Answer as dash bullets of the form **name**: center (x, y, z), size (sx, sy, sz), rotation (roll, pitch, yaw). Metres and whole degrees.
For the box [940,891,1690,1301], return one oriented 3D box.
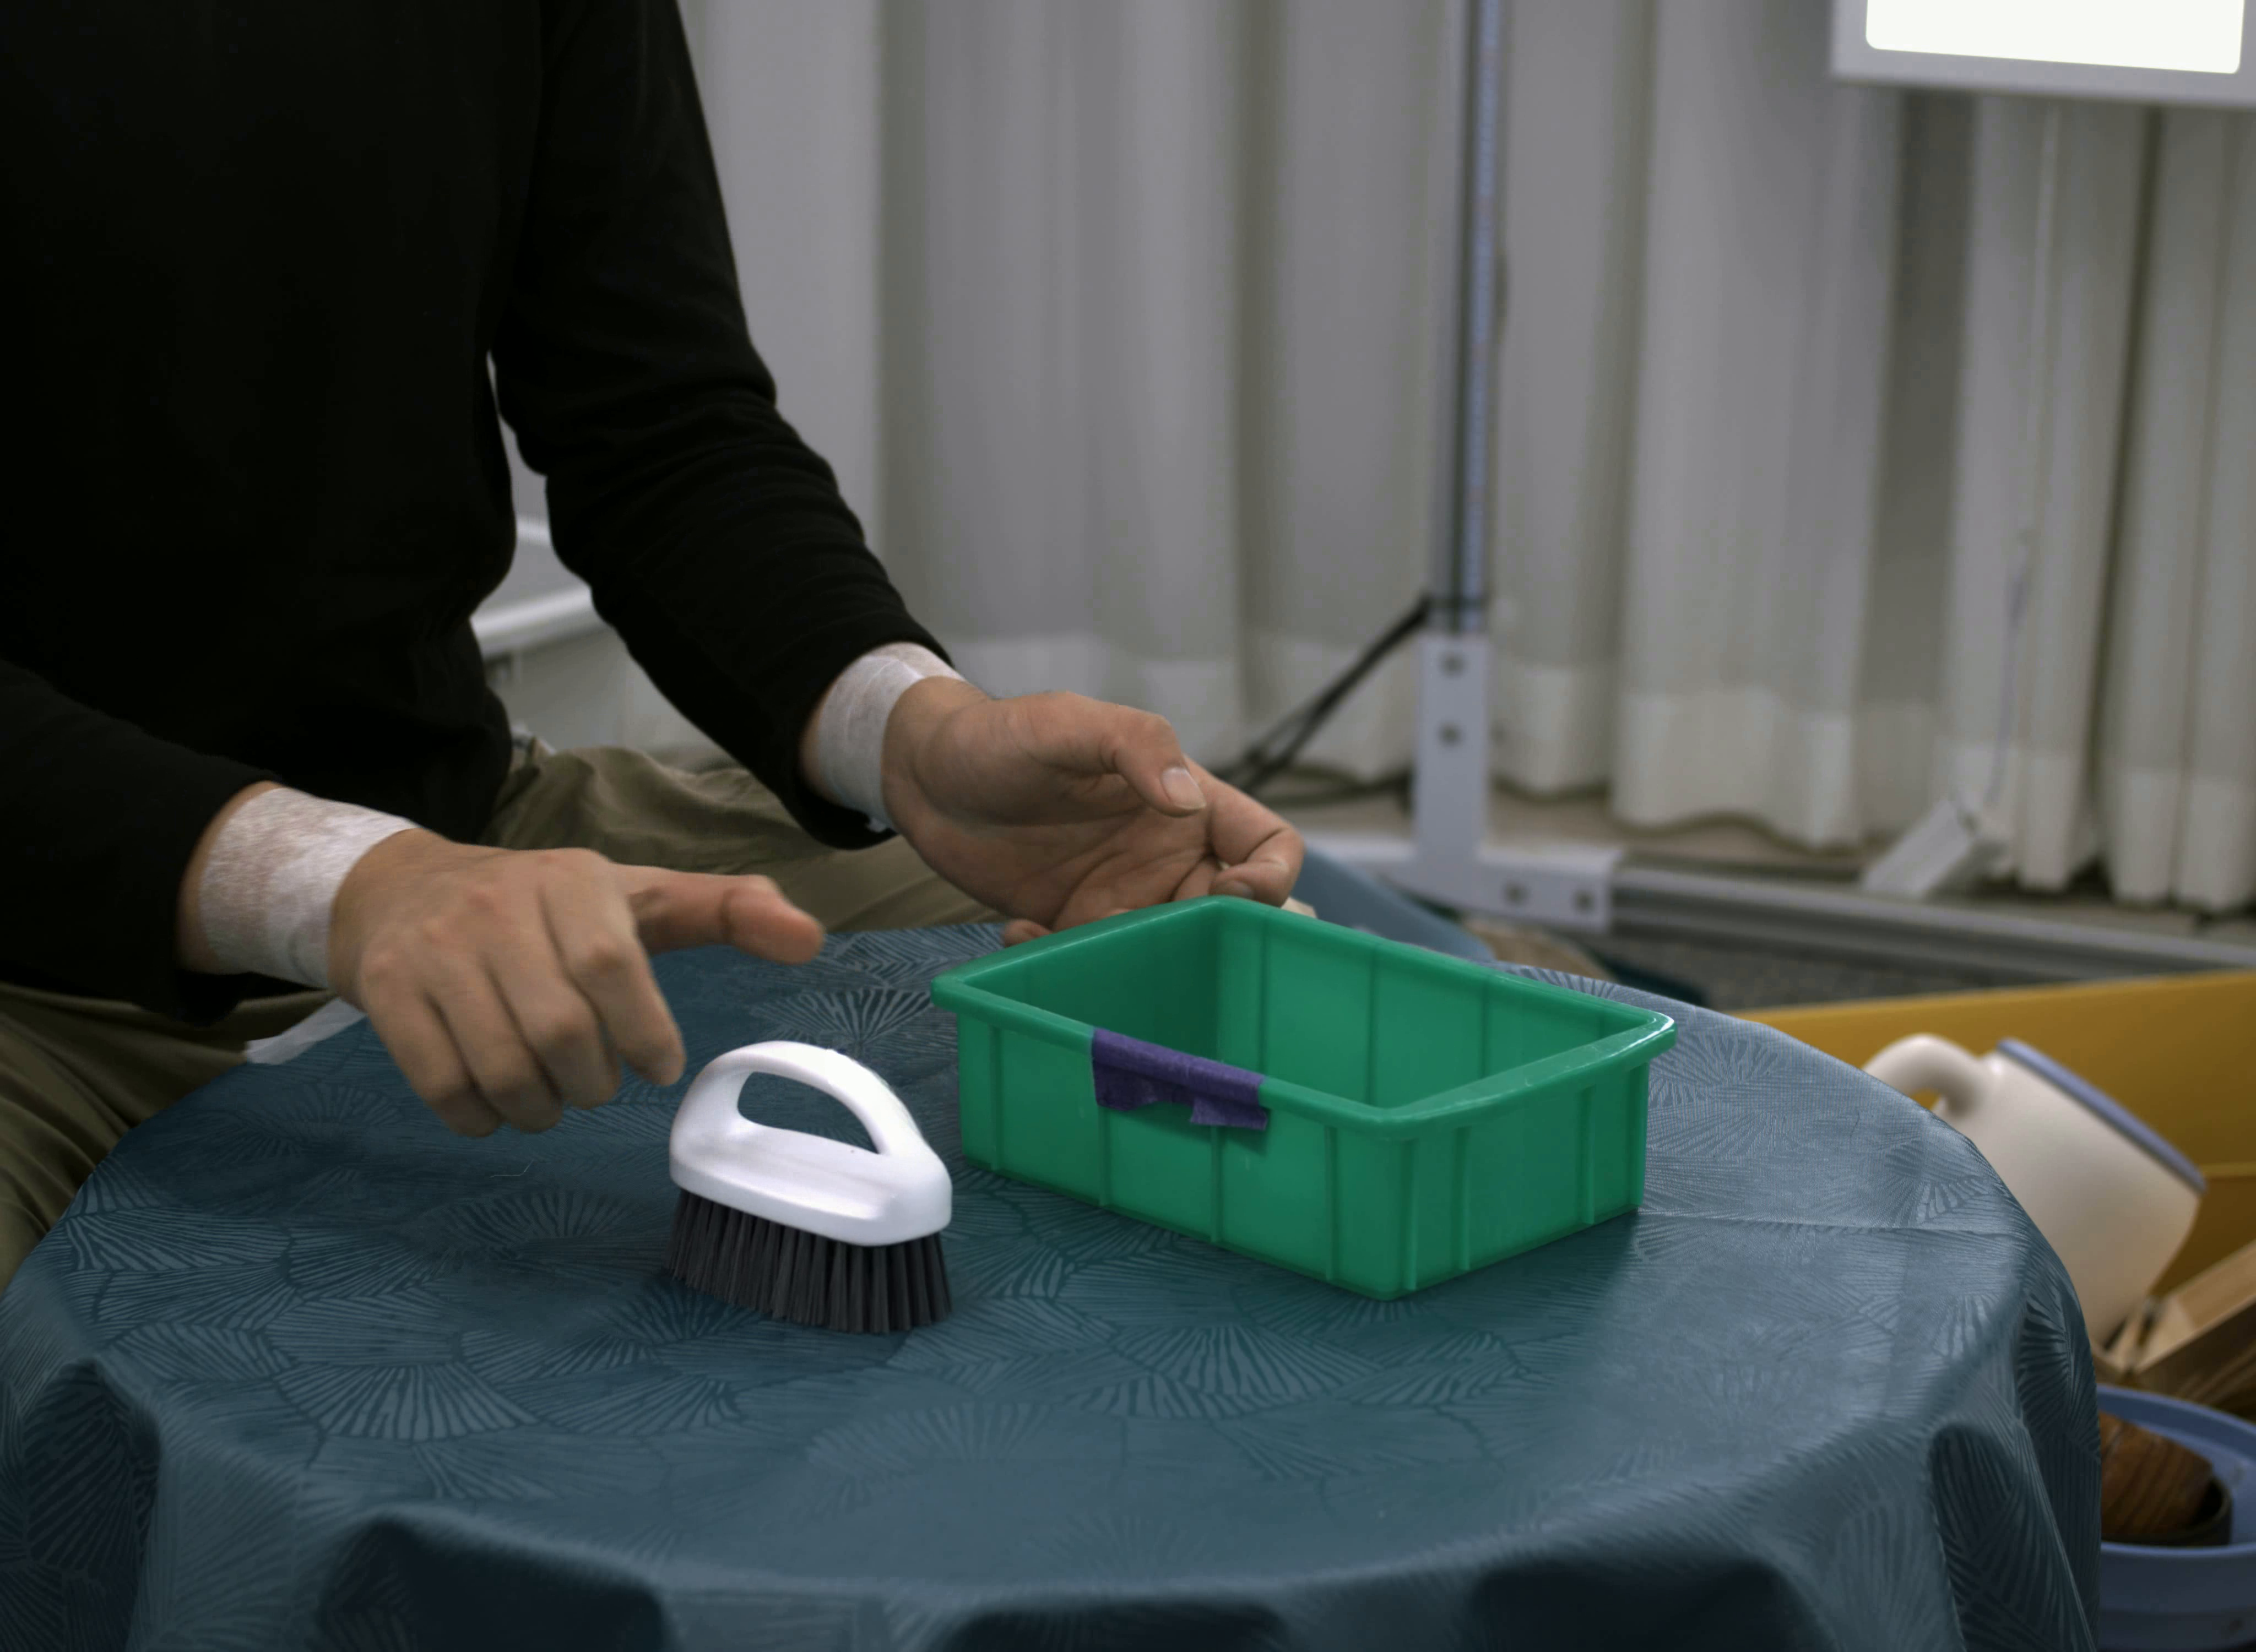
- **box**: center (0.056, 0.082, 1.617), size (0.207, 0.066, 0.139), rotation (15, 24, 40)

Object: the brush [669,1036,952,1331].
- **brush**: center (-0.094, 0.099, 1.529), size (0.098, 0.073, 0.050), rotation (15, 23, 43)
